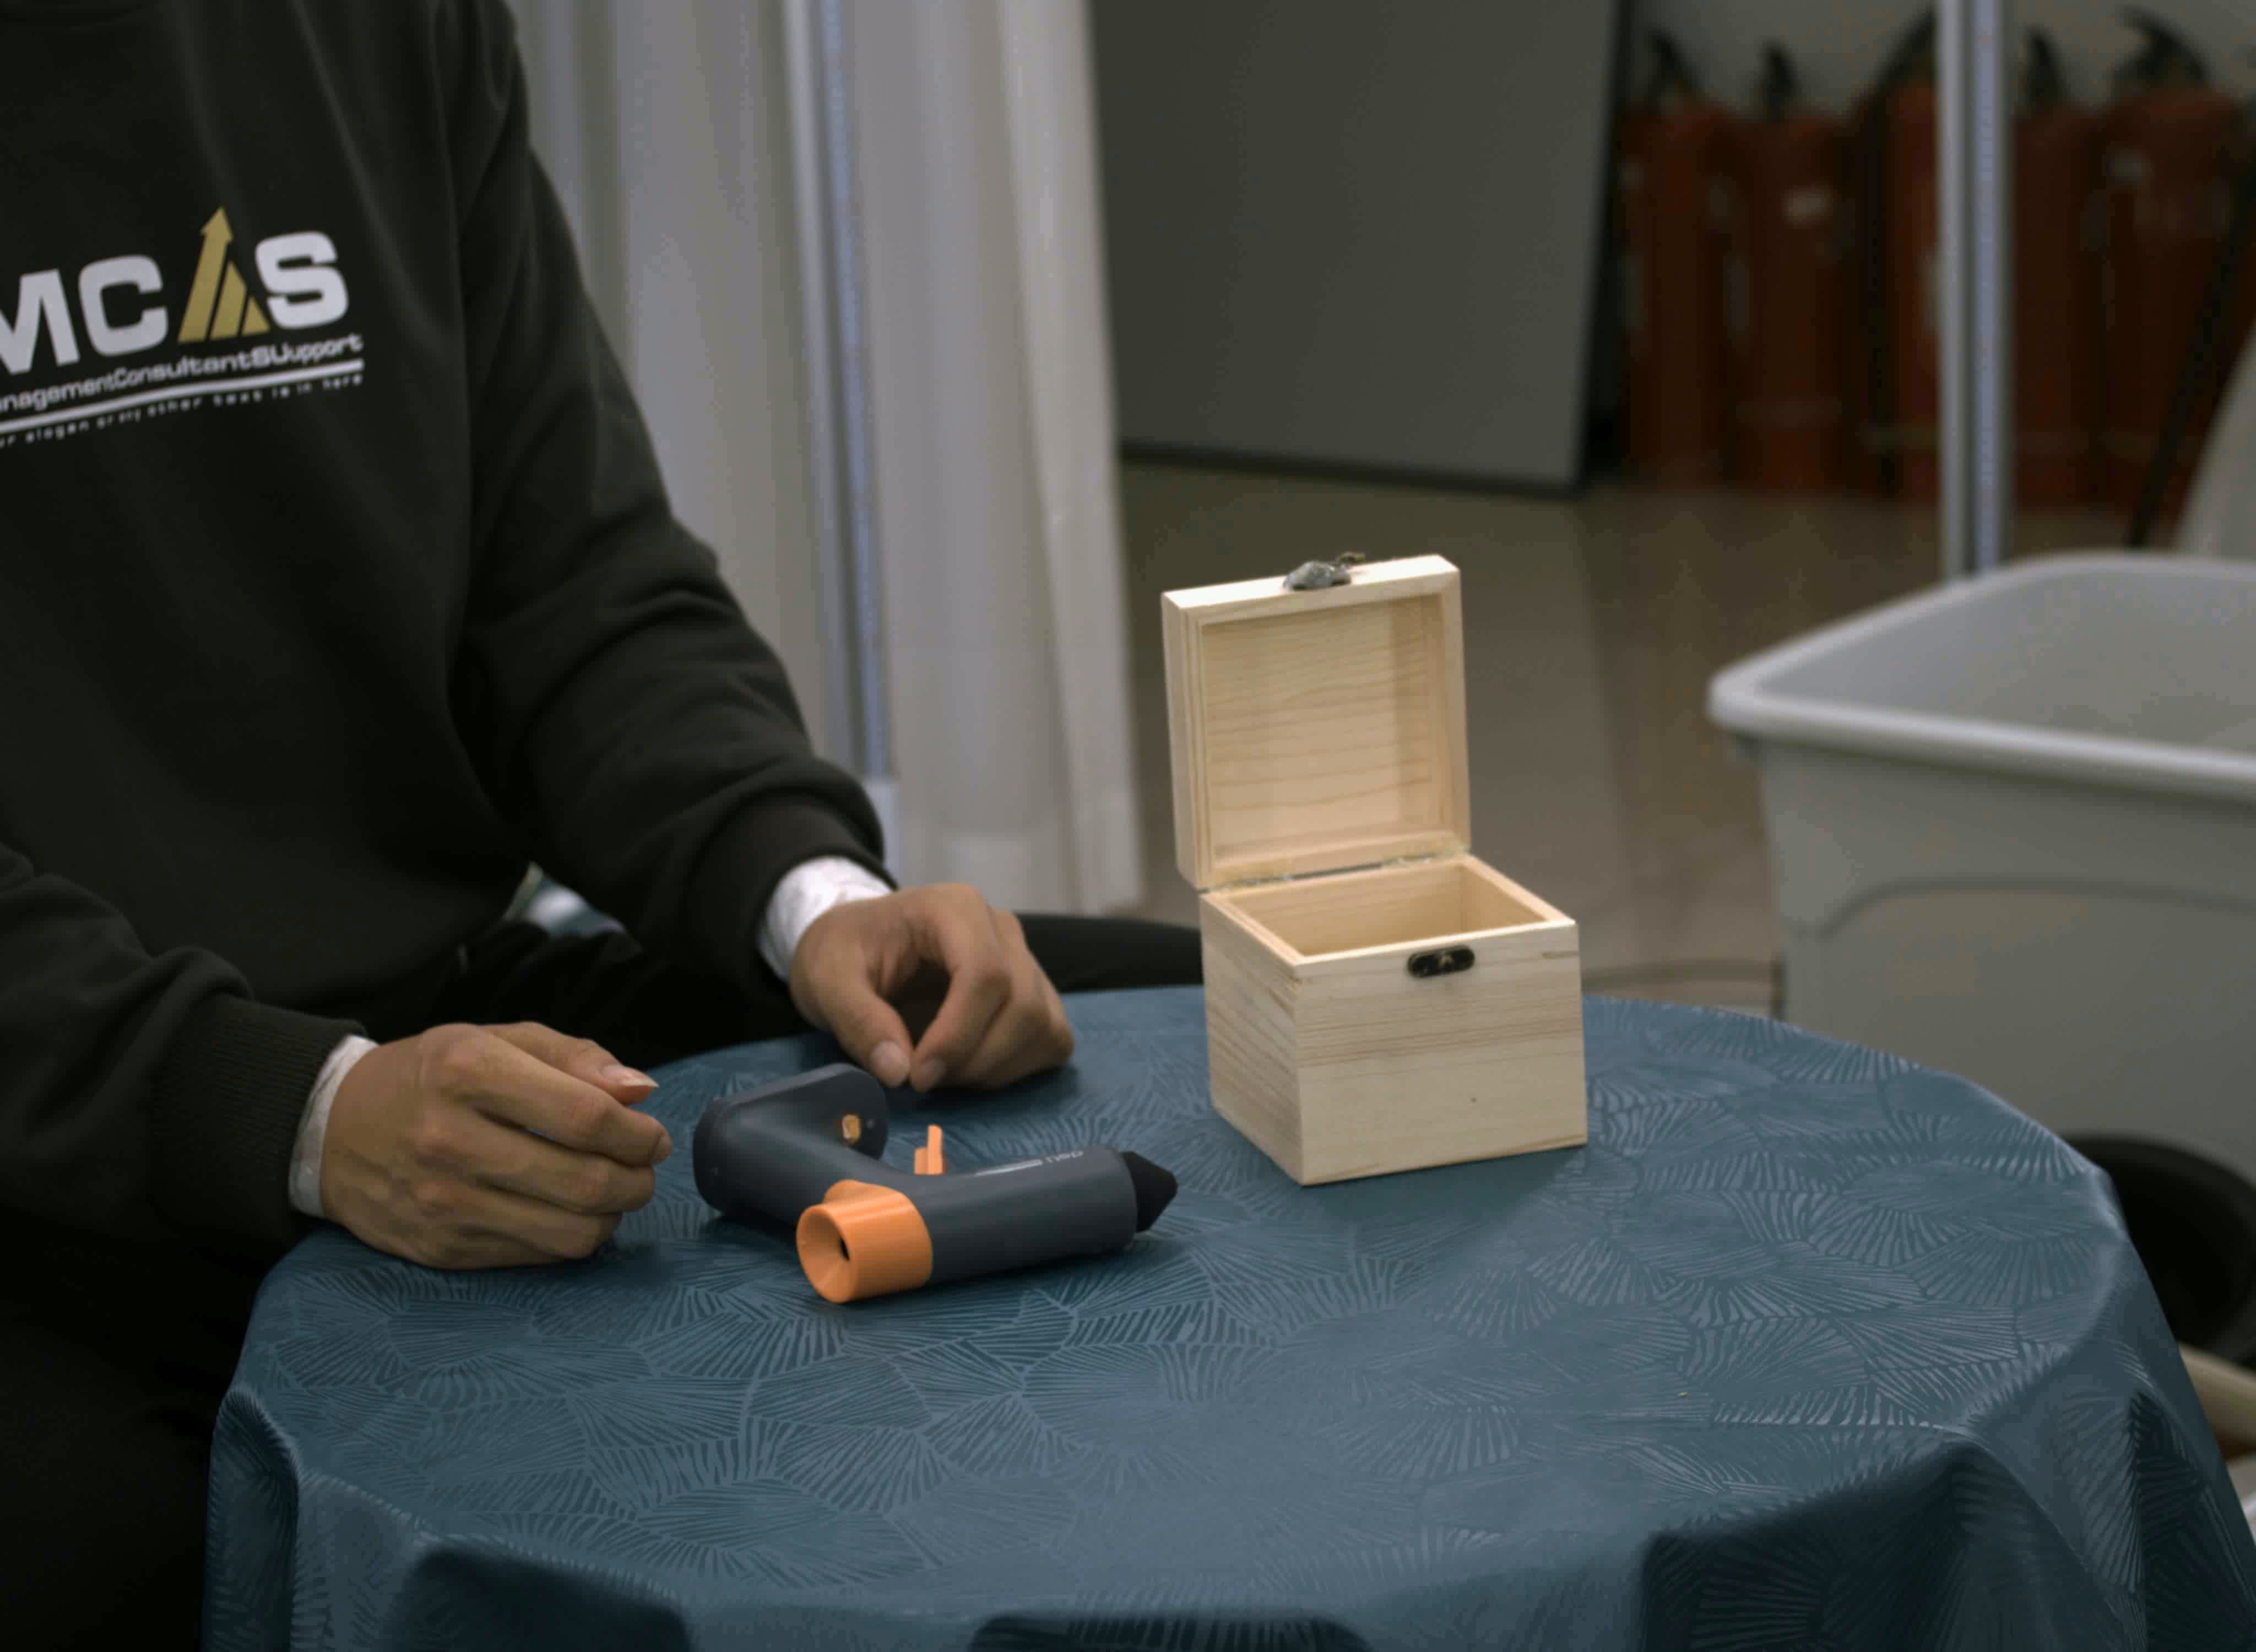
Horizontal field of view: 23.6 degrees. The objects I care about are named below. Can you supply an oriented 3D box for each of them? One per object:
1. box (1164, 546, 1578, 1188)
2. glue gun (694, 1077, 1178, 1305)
[{"bbox_3d":[0.082,0.010,1.812,0.100,0.186,0.135,-7,15,-17],"label":"box"},{"bbox_3d":[-0.066,0.119,1.742,0.115,0.041,0.141,-12,18,-37],"label":"glue gun"}]
